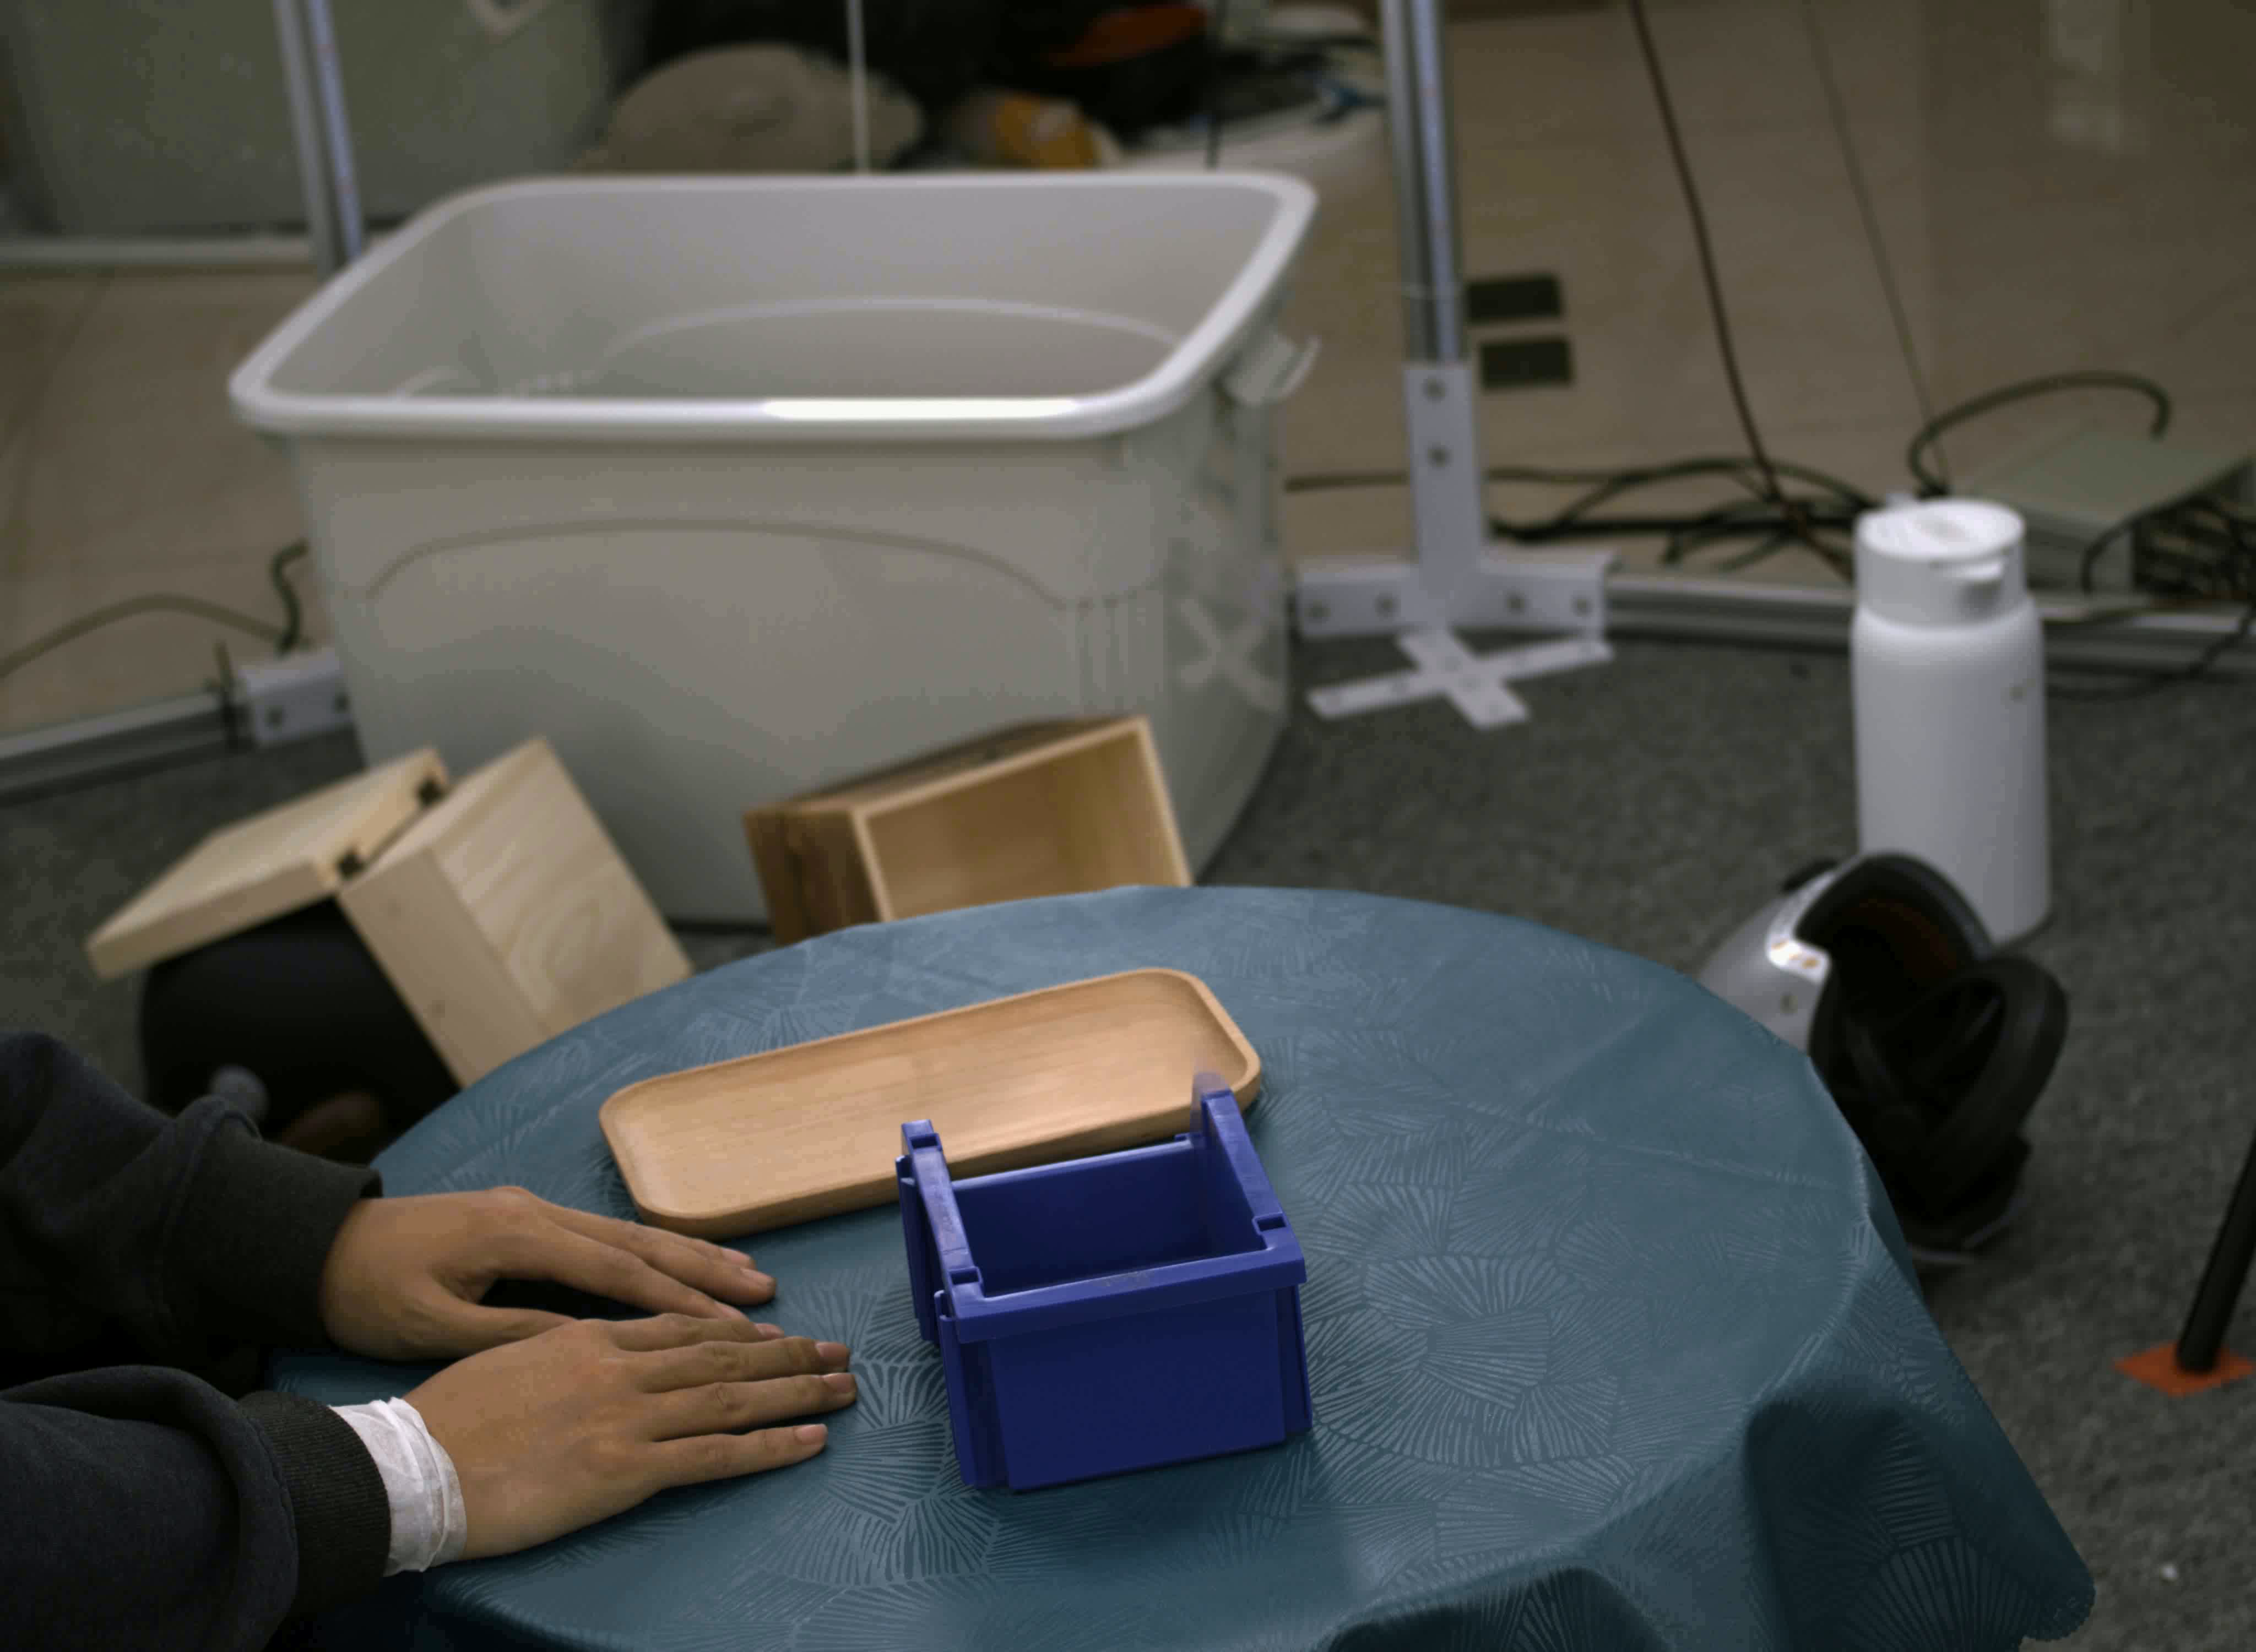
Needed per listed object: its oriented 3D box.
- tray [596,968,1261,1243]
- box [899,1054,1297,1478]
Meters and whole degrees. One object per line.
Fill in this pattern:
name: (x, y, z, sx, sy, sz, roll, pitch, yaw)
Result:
tray: (-0.078, 0.108, 2.212, 0.250, 0.023, 0.129, -13, 23, -12)
box: (-0.014, 0.152, 2.024, 0.124, 0.083, 0.176, -9, 29, -4)
